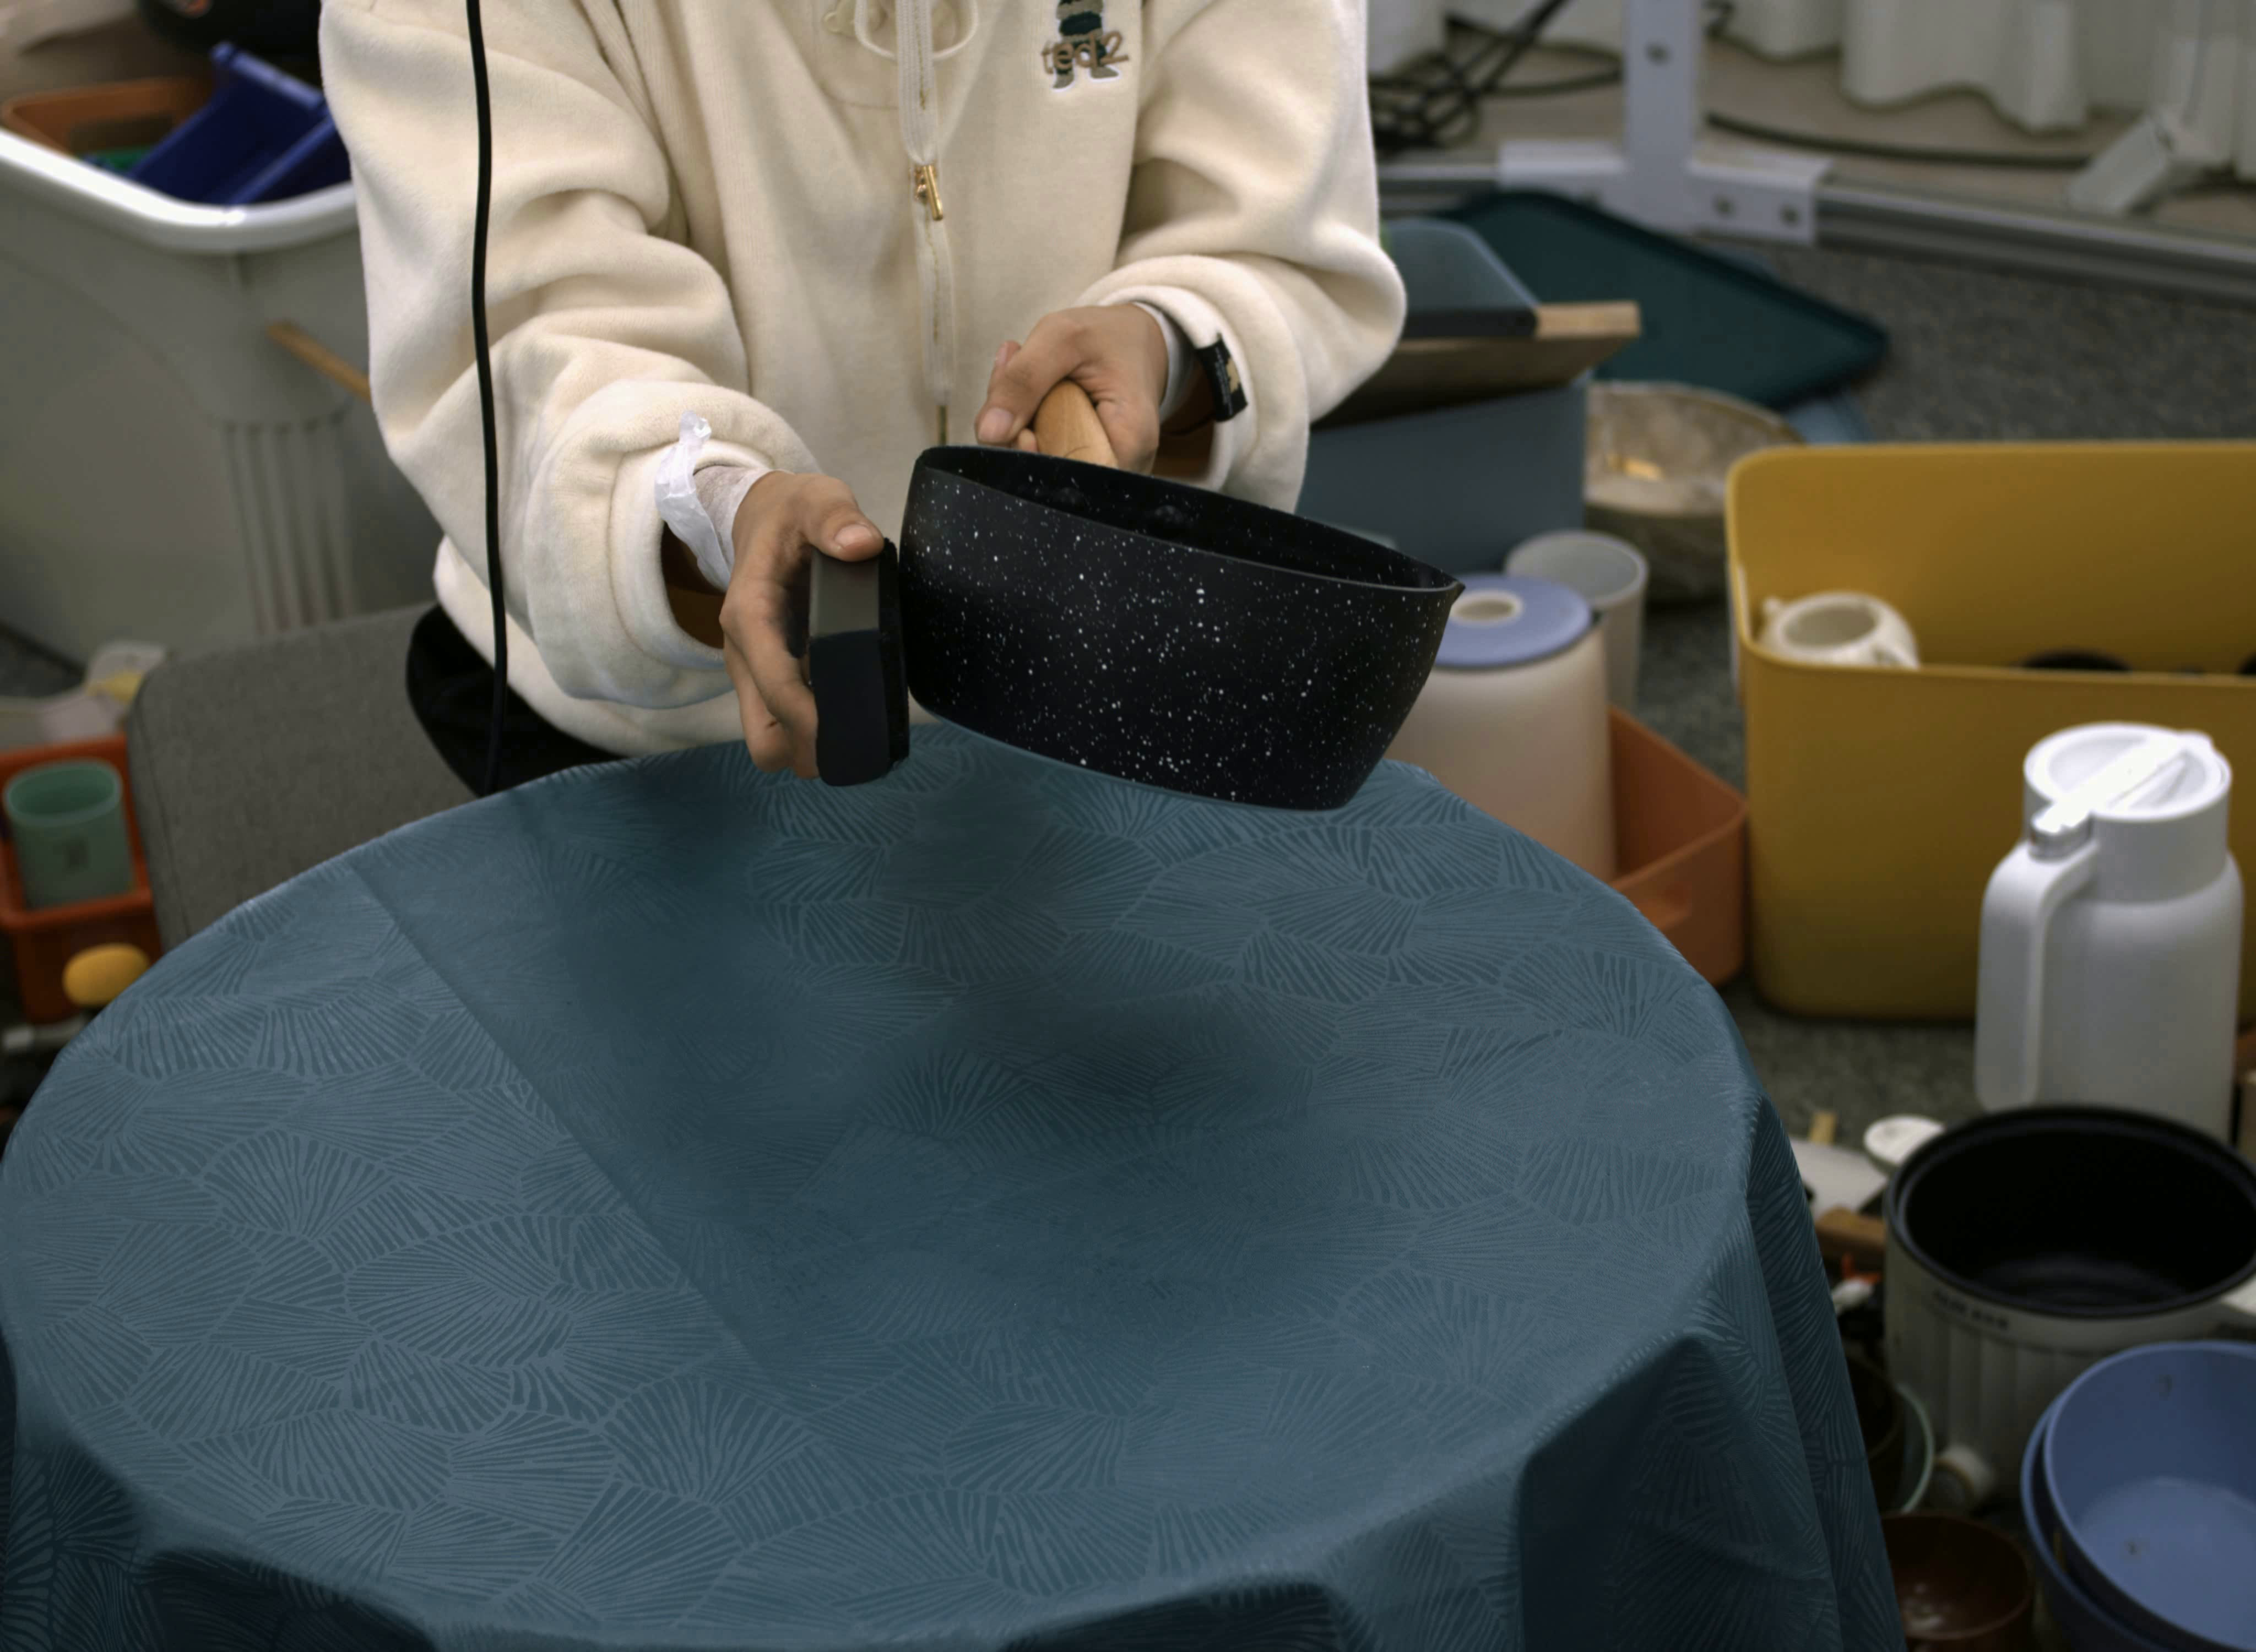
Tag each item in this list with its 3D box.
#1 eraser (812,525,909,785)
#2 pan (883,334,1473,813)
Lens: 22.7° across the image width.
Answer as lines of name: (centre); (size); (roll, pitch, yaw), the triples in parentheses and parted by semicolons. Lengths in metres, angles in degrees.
eraser: (-0.087, -0.057, 1.837); (0.030, 0.053, 0.127); (-4, 18, -1)
pan: (-0.006, -0.094, 1.960); (0.207, 0.108, 0.344); (12, 11, -17)
